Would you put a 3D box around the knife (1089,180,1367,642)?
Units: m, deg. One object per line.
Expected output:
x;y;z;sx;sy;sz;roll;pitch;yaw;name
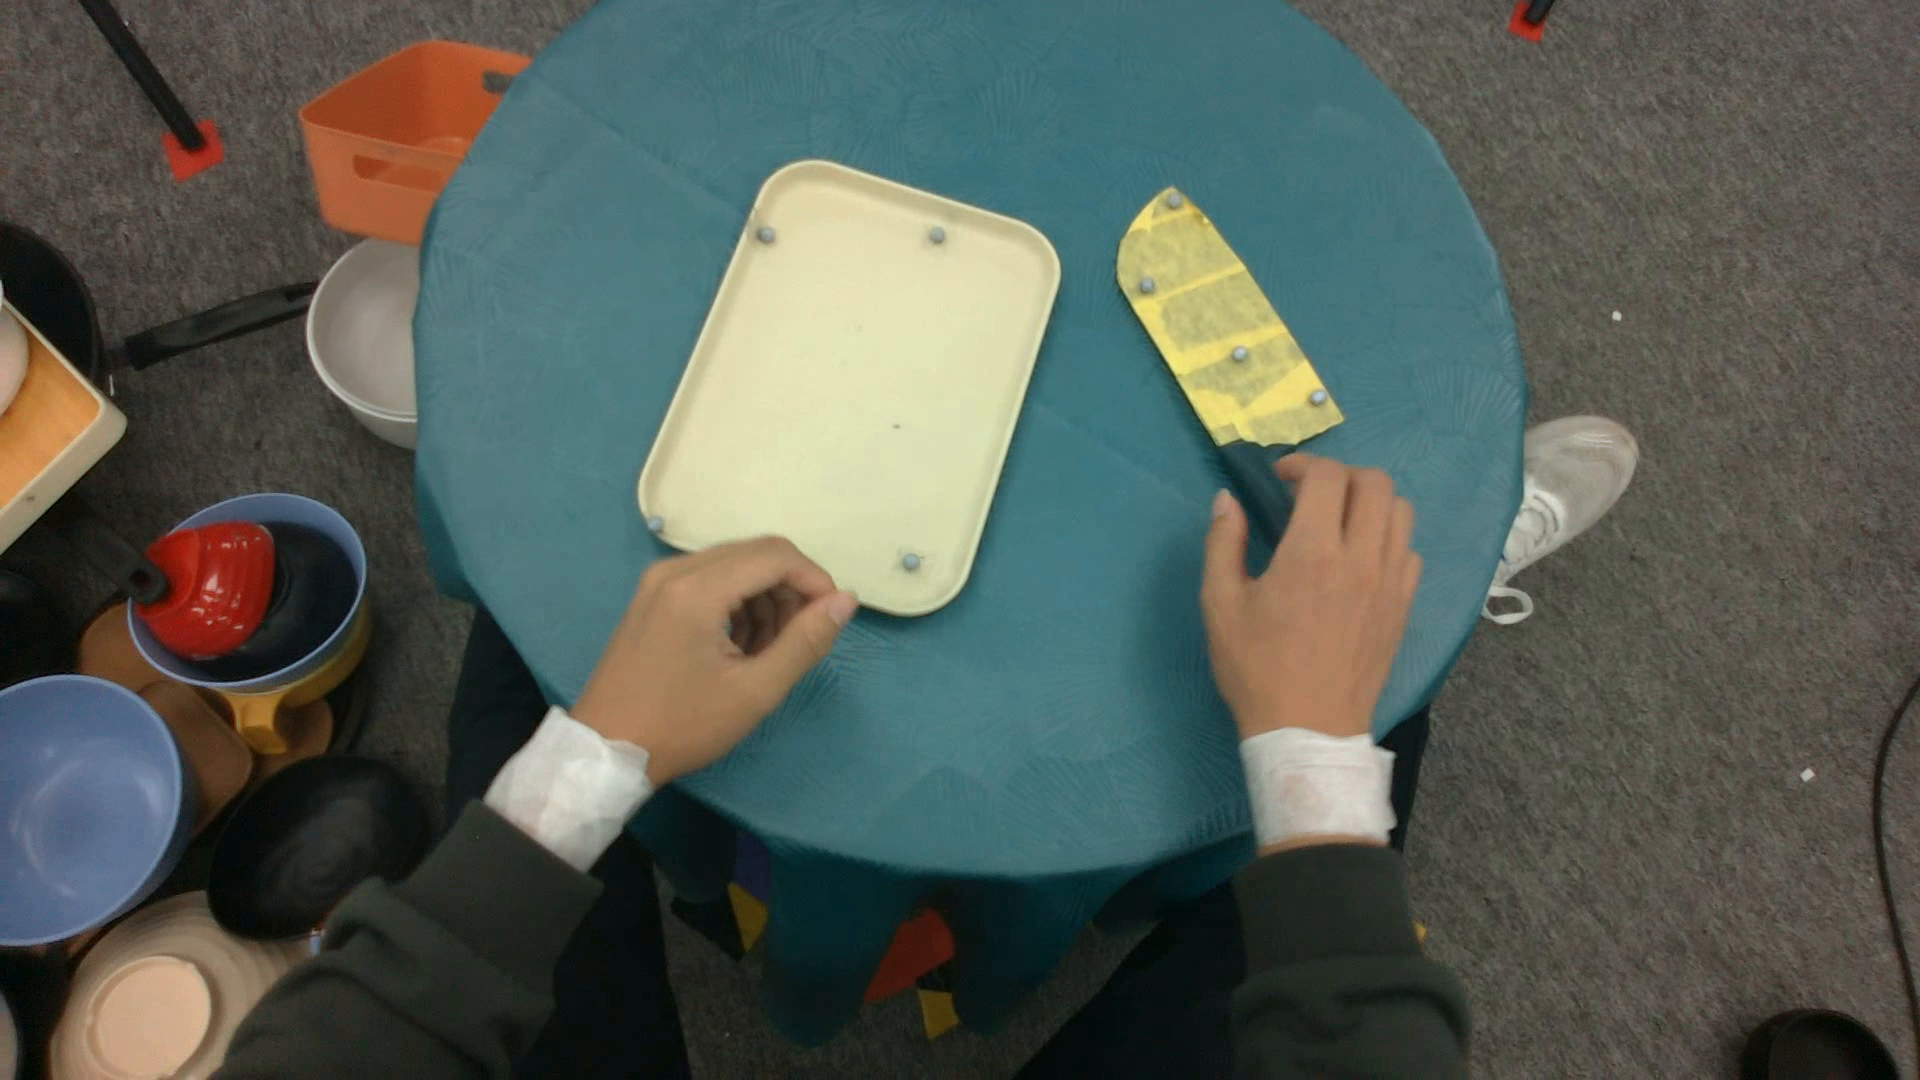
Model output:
0.149;-0.079;0.740;0.081;0.027;0.290;-20;72;-13;knife

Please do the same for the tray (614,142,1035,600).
-0.065;-0.092;0.716;0.171;0.017;0.240;17;68;-1;tray
